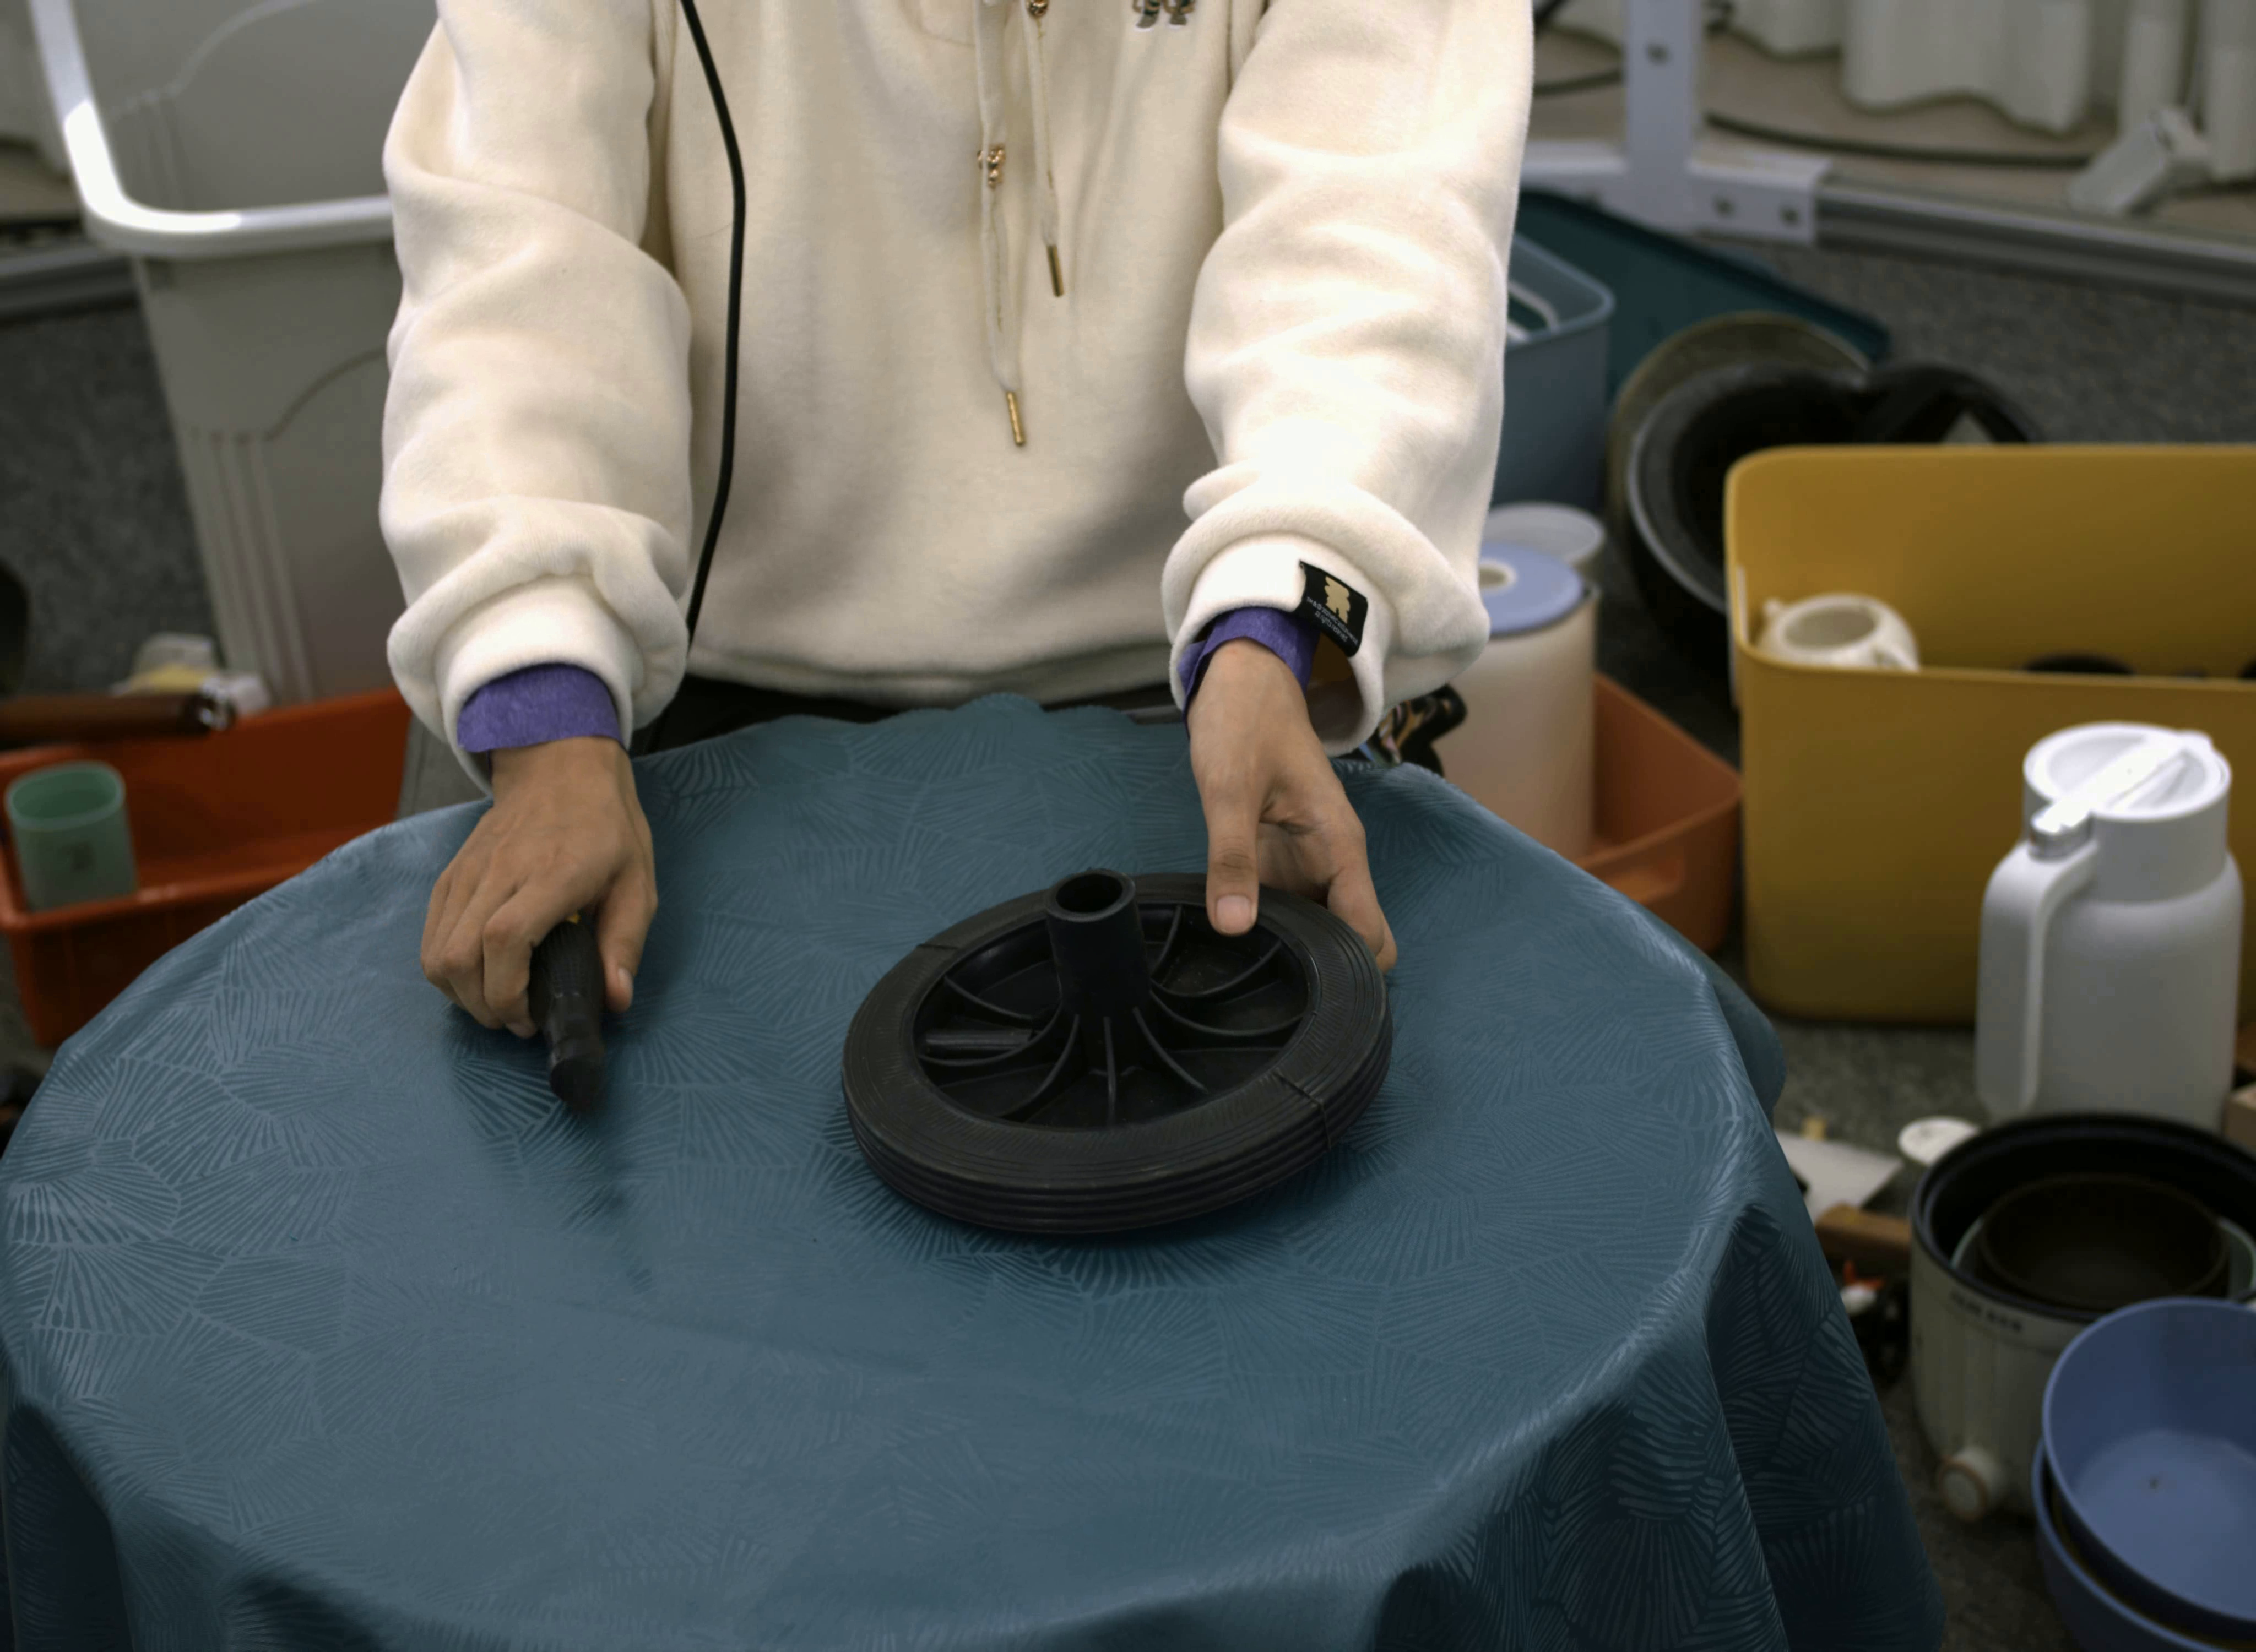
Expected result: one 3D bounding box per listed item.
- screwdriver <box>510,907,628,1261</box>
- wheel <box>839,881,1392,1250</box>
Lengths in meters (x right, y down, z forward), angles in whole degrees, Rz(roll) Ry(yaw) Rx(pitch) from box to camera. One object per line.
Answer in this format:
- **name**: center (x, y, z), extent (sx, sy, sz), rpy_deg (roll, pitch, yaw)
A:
- **screwdriver**: center (-0.190, 0.088, 1.914), extent (0.031, 0.031, 0.201), rpy_deg (-6, 32, -7)
- **wheel**: center (-0.008, 0.061, 1.891), extent (0.189, 0.078, 0.190), rpy_deg (-15, 32, -5)
